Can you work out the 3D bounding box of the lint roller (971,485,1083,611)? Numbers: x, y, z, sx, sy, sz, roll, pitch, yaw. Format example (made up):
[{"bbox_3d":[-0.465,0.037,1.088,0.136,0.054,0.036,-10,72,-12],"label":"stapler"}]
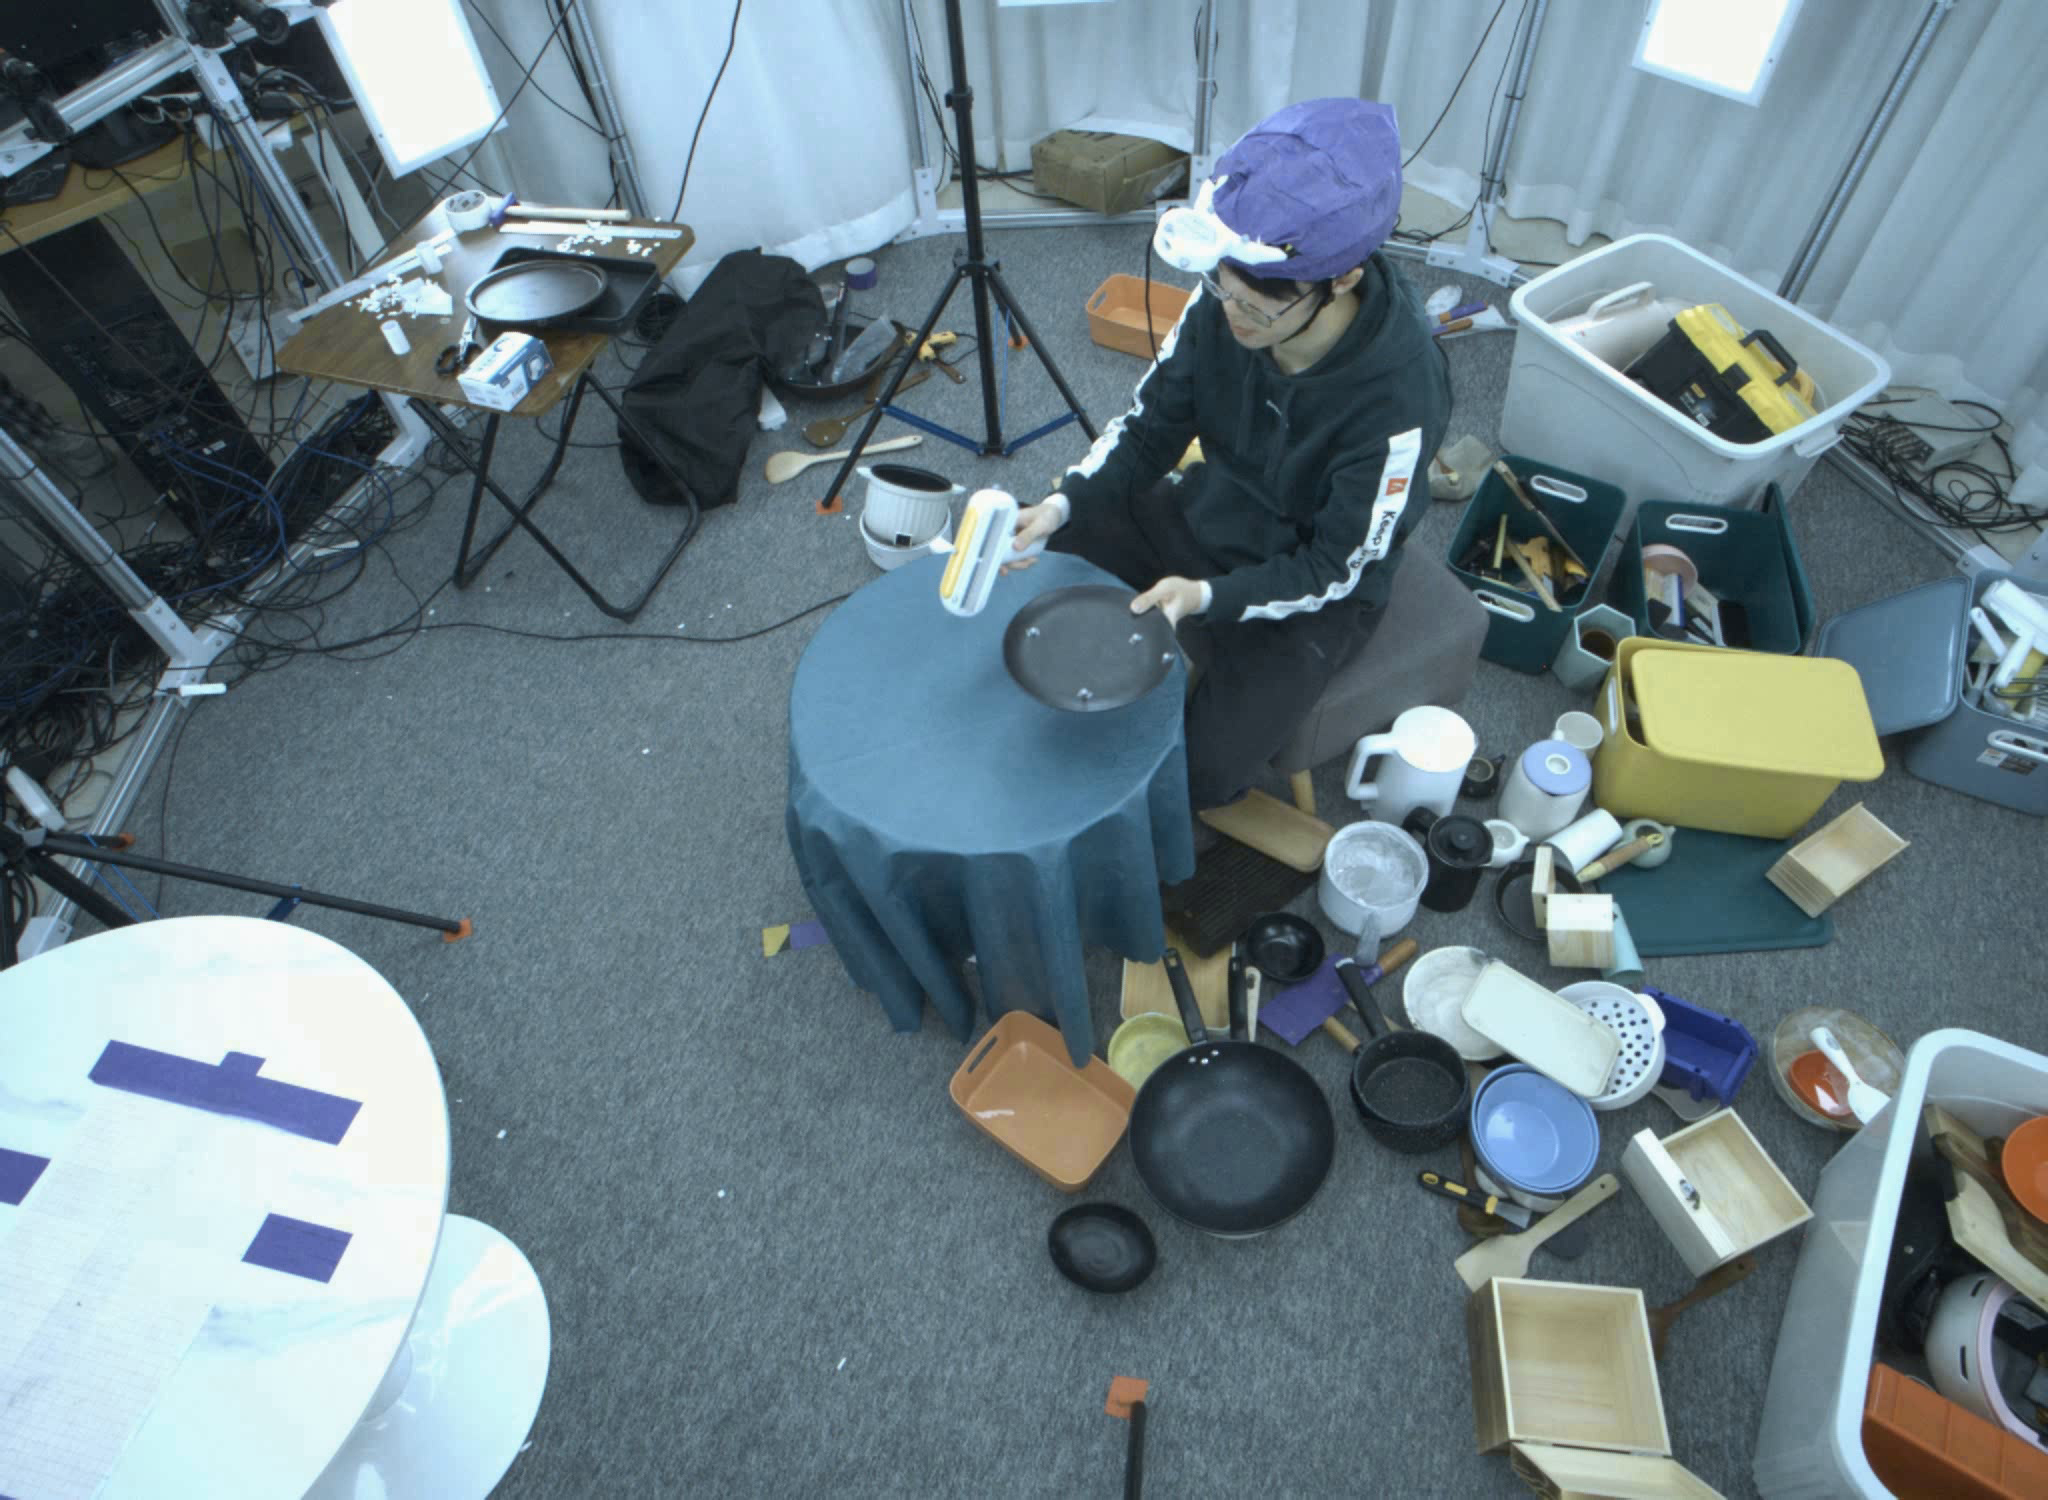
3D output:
[{"bbox_3d":[0.024,-0.288,1.776,0.196,0.193,0.072,0,34,-44],"label":"lint roller"}]

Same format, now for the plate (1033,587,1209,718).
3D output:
[{"bbox_3d":[0.133,-0.133,1.701,0.244,0.023,0.242,0,53,1],"label":"plate"}]
